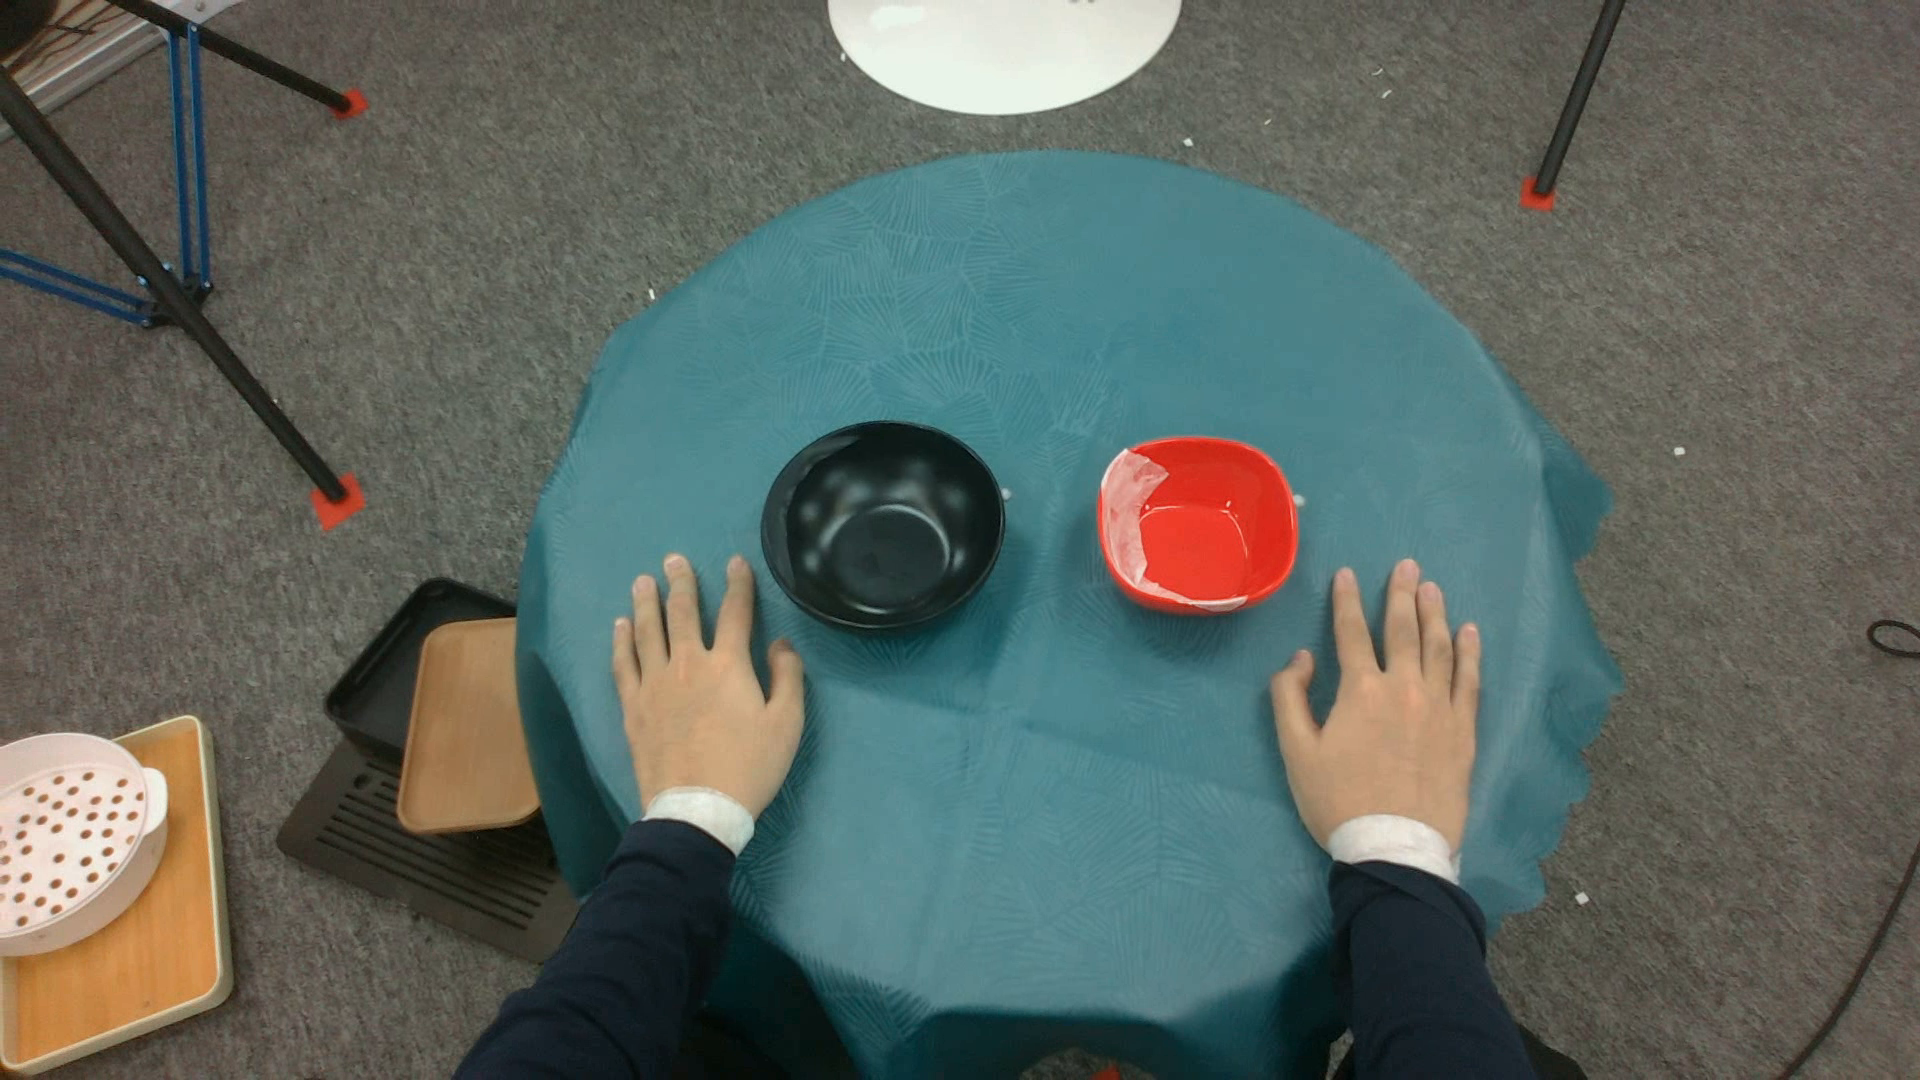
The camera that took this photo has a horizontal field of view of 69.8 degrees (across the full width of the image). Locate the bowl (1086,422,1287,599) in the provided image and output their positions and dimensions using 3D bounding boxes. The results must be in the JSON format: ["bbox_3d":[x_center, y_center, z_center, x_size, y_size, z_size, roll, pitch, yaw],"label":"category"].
[{"bbox_3d":[0.125,-0.009,0.781,0.119,0.051,0.119,0,58,1],"label":"bowl"}]

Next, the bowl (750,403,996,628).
[{"bbox_3d":[-0.048,-0.008,0.792,0.140,0.049,0.140,-1,63,2],"label":"bowl"}]
